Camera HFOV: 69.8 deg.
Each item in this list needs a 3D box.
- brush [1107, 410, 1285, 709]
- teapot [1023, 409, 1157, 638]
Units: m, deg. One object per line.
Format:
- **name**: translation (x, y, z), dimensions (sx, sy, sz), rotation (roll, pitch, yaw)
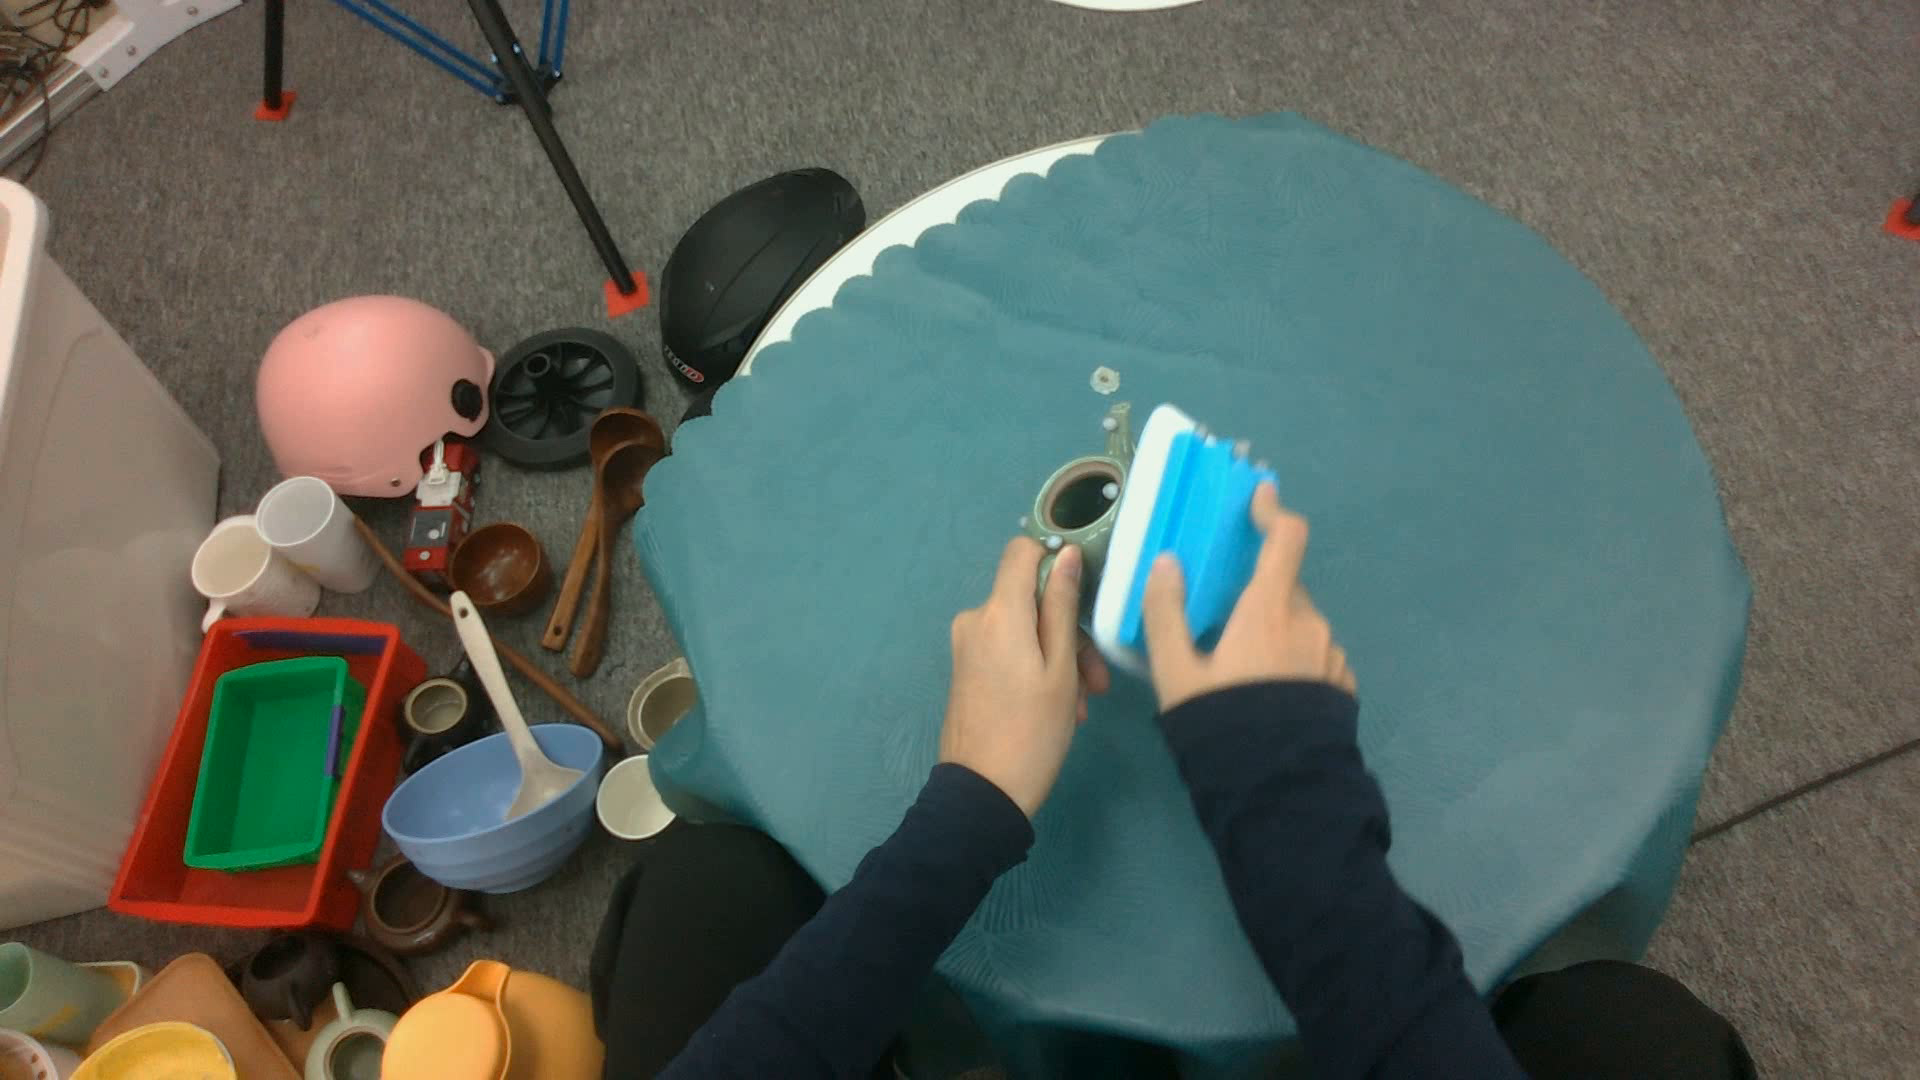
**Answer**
- **brush**: translation (0.125, 0.005, 0.672), dimensions (0.055, 0.084, 0.144), rotation (-17, 47, 49)
- **teapot**: translation (0.078, 0.001, 0.719), dimensions (0.079, 0.075, 0.133), rotation (0, 52, 42)
